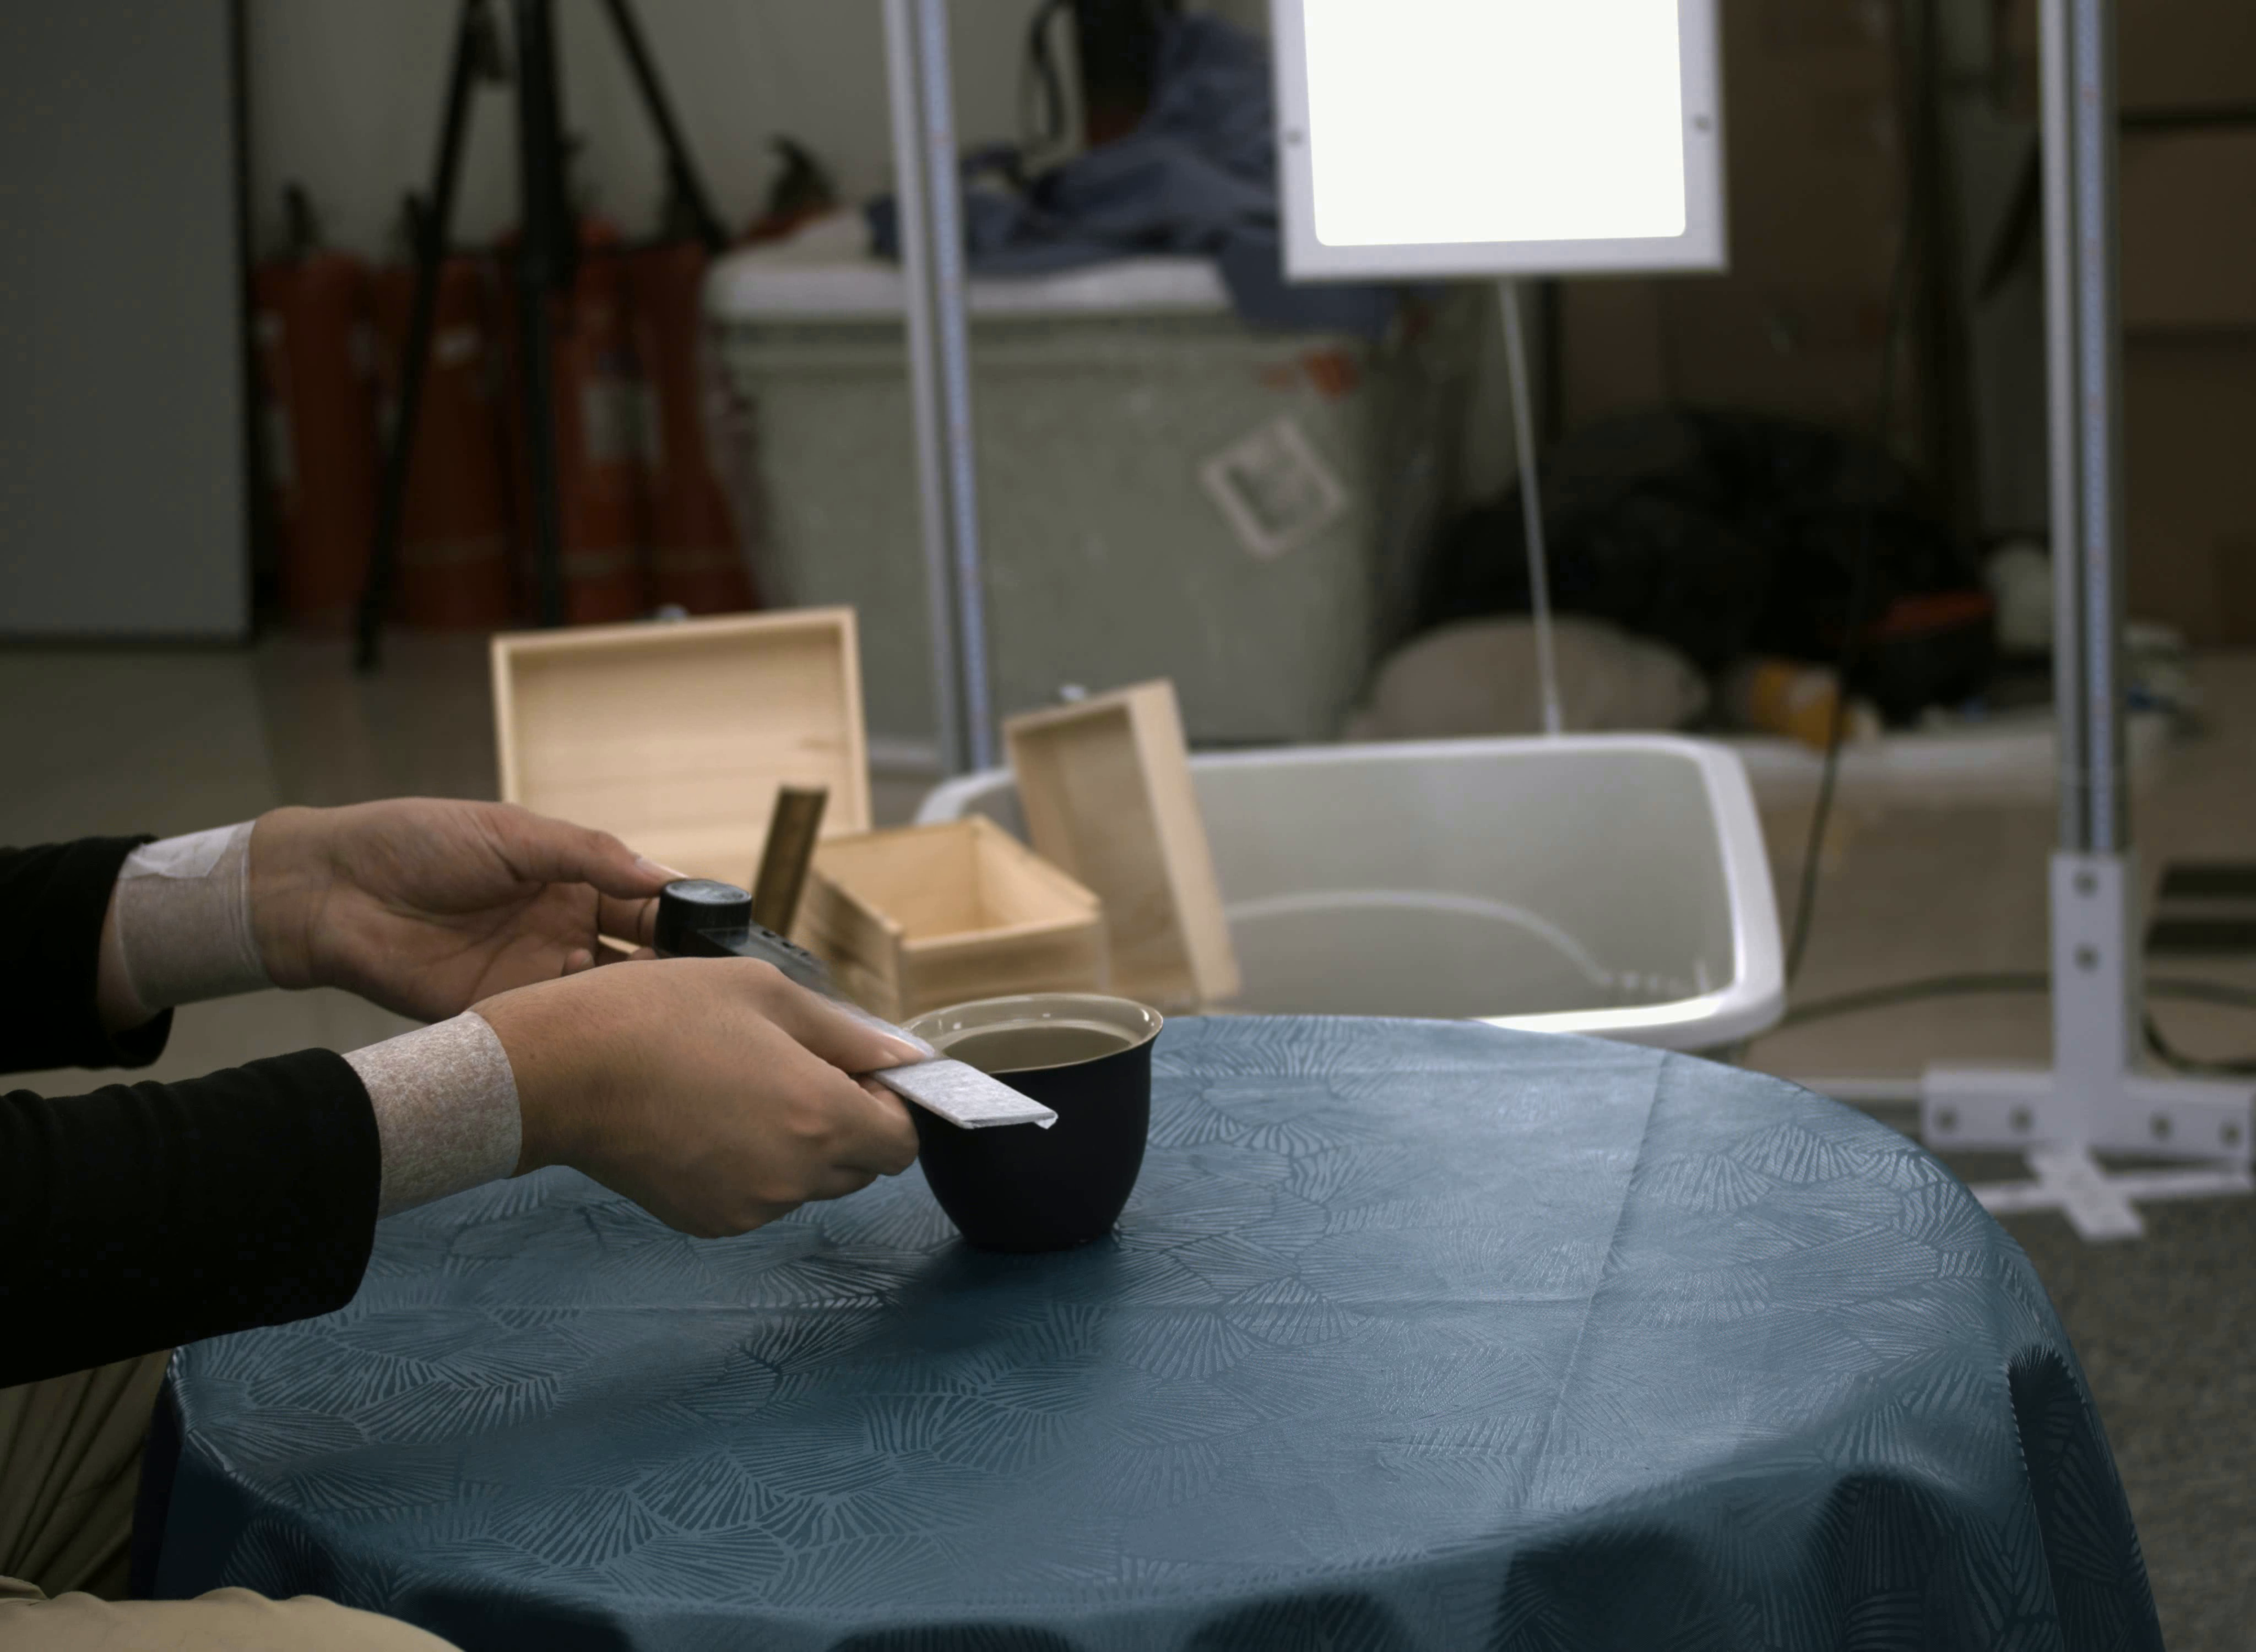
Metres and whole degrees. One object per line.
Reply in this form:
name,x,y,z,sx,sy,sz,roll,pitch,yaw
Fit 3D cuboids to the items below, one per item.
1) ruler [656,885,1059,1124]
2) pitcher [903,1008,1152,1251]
ruler,-0.096,0.057,1.835,0.037,0.024,0.222,-12,20,-30
pitcher,-0.038,0.102,1.858,0.096,0.071,0.083,-1,15,10
